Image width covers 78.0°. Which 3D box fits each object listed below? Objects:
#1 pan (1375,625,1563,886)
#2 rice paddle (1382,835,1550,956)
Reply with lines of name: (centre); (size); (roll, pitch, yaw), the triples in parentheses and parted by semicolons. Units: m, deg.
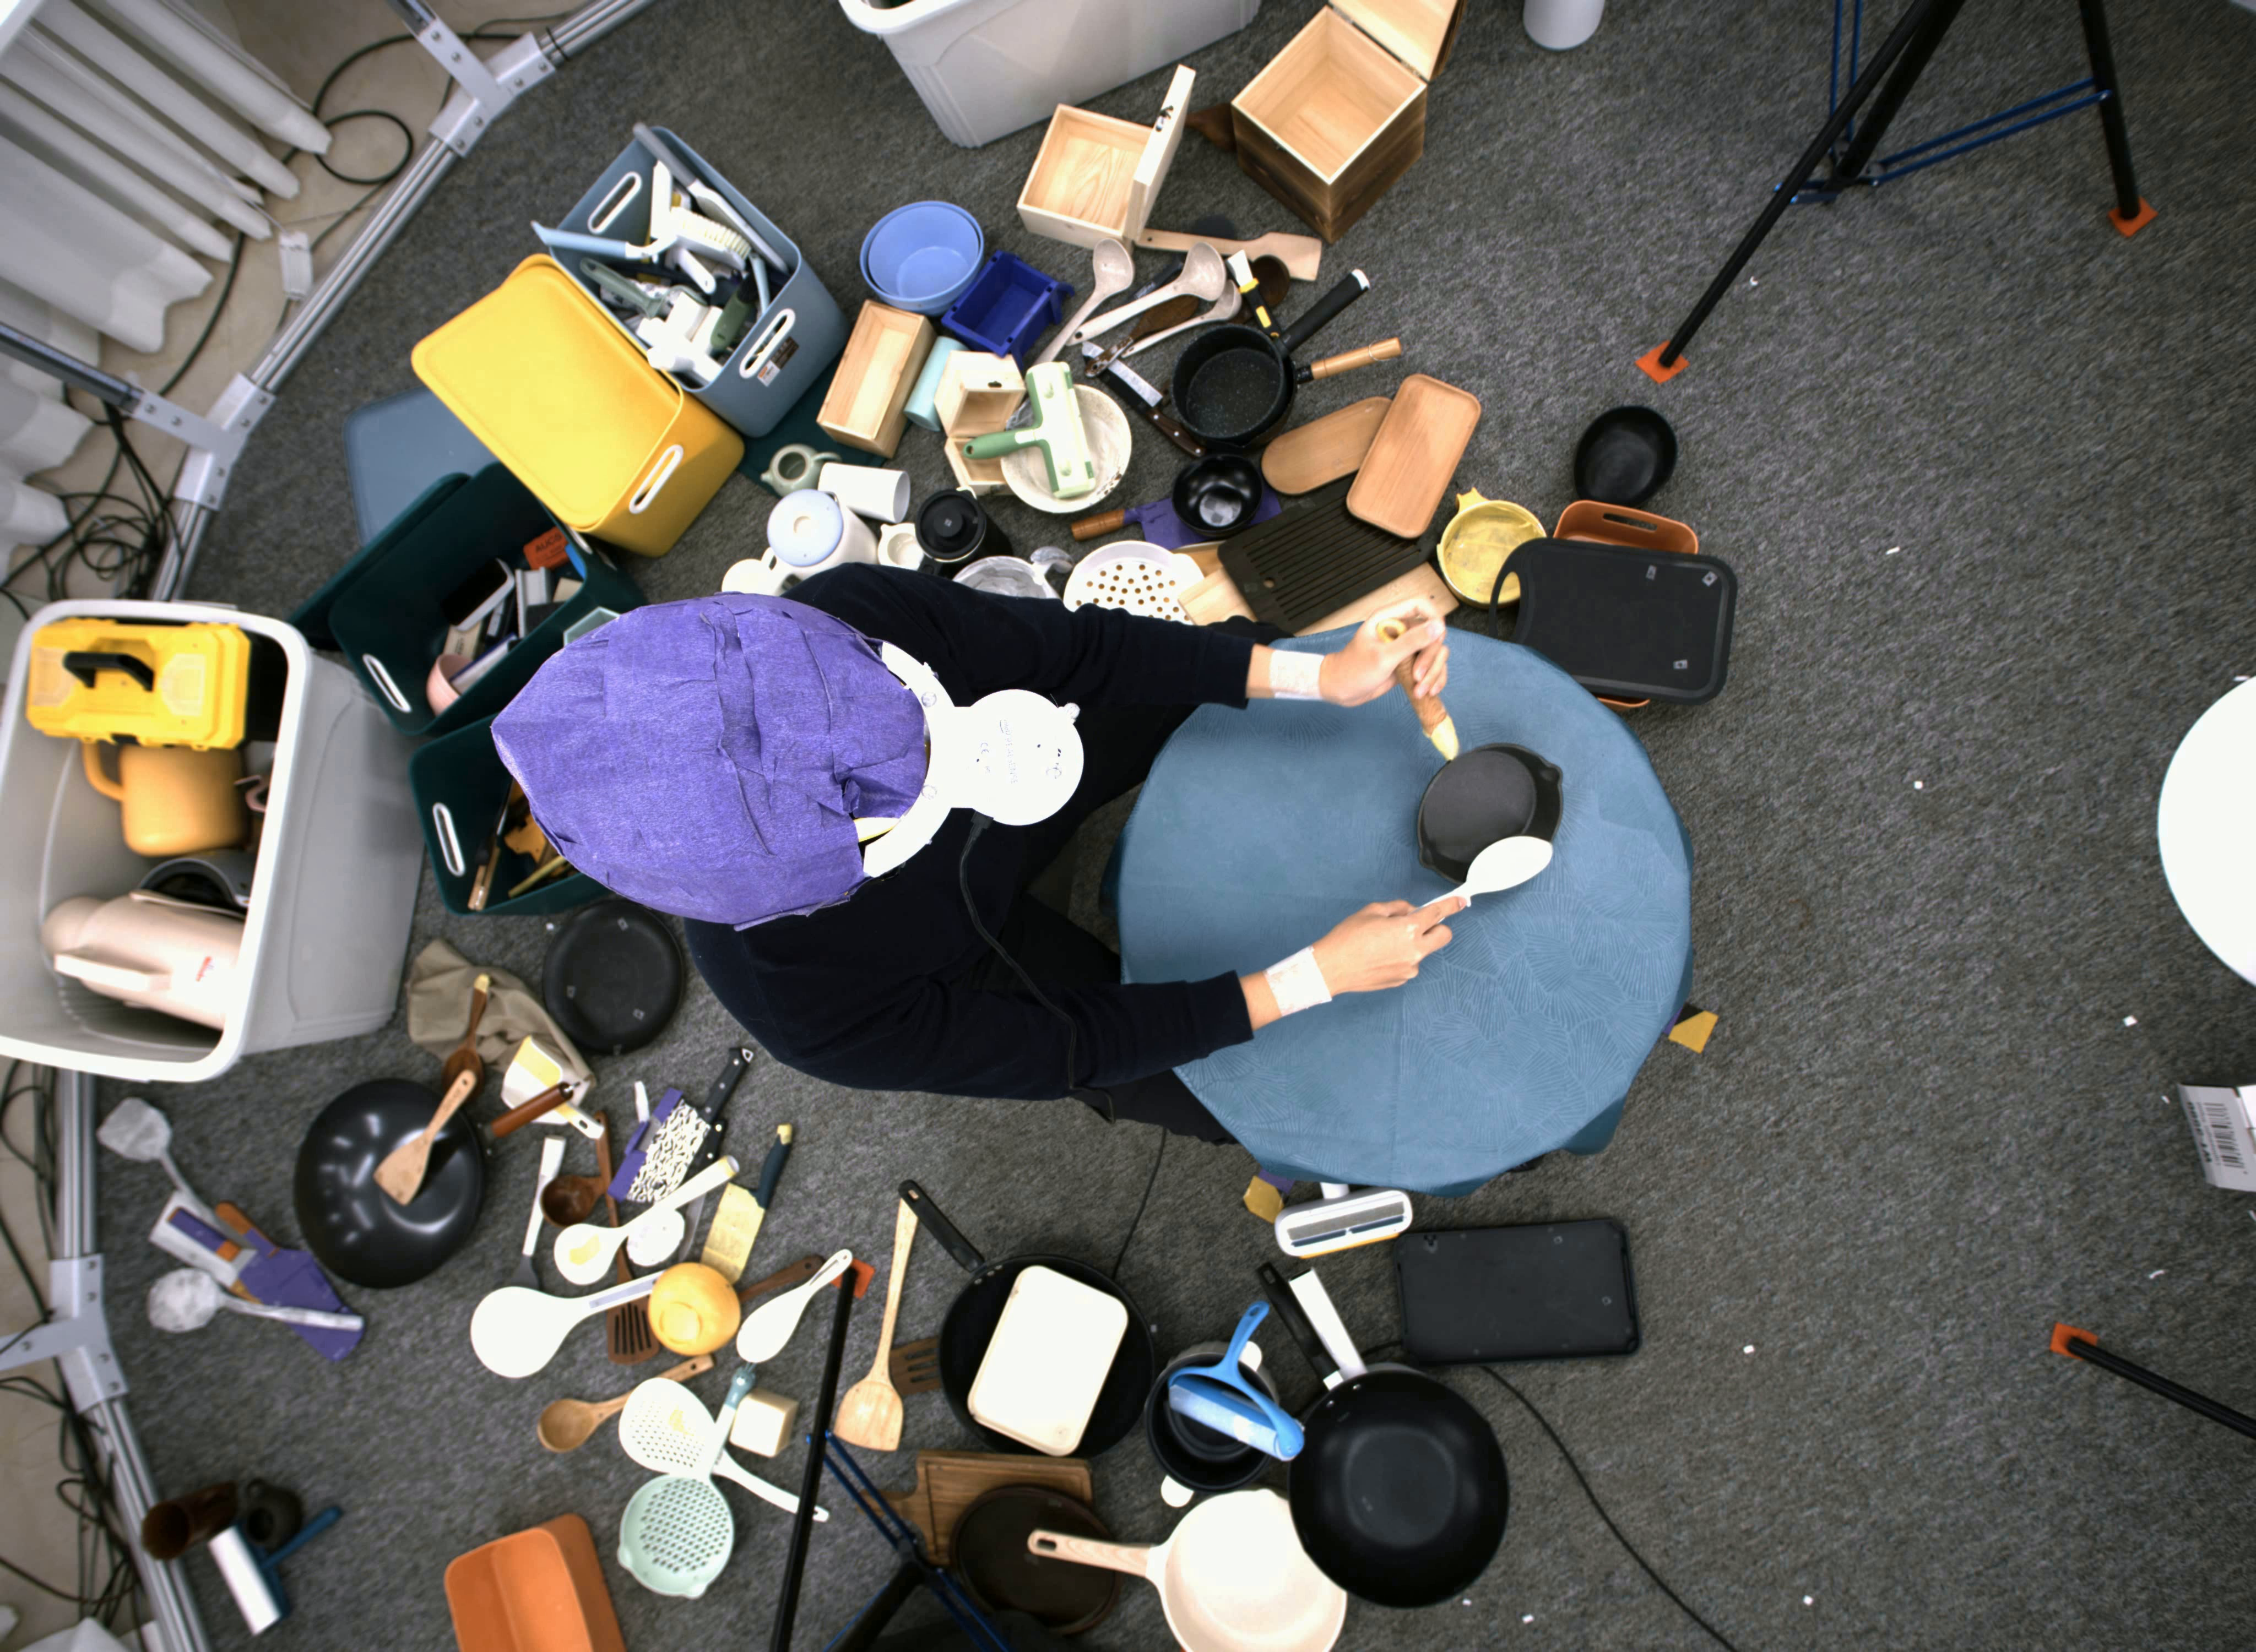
pan: (0.321, -0.076, 1.353); (0.169, 0.048, 0.328); (-32, 118, 5)
rice paddle: (0.342, 0.062, 1.388); (0.203, 0.030, 0.068); (-33, 37, -15)
